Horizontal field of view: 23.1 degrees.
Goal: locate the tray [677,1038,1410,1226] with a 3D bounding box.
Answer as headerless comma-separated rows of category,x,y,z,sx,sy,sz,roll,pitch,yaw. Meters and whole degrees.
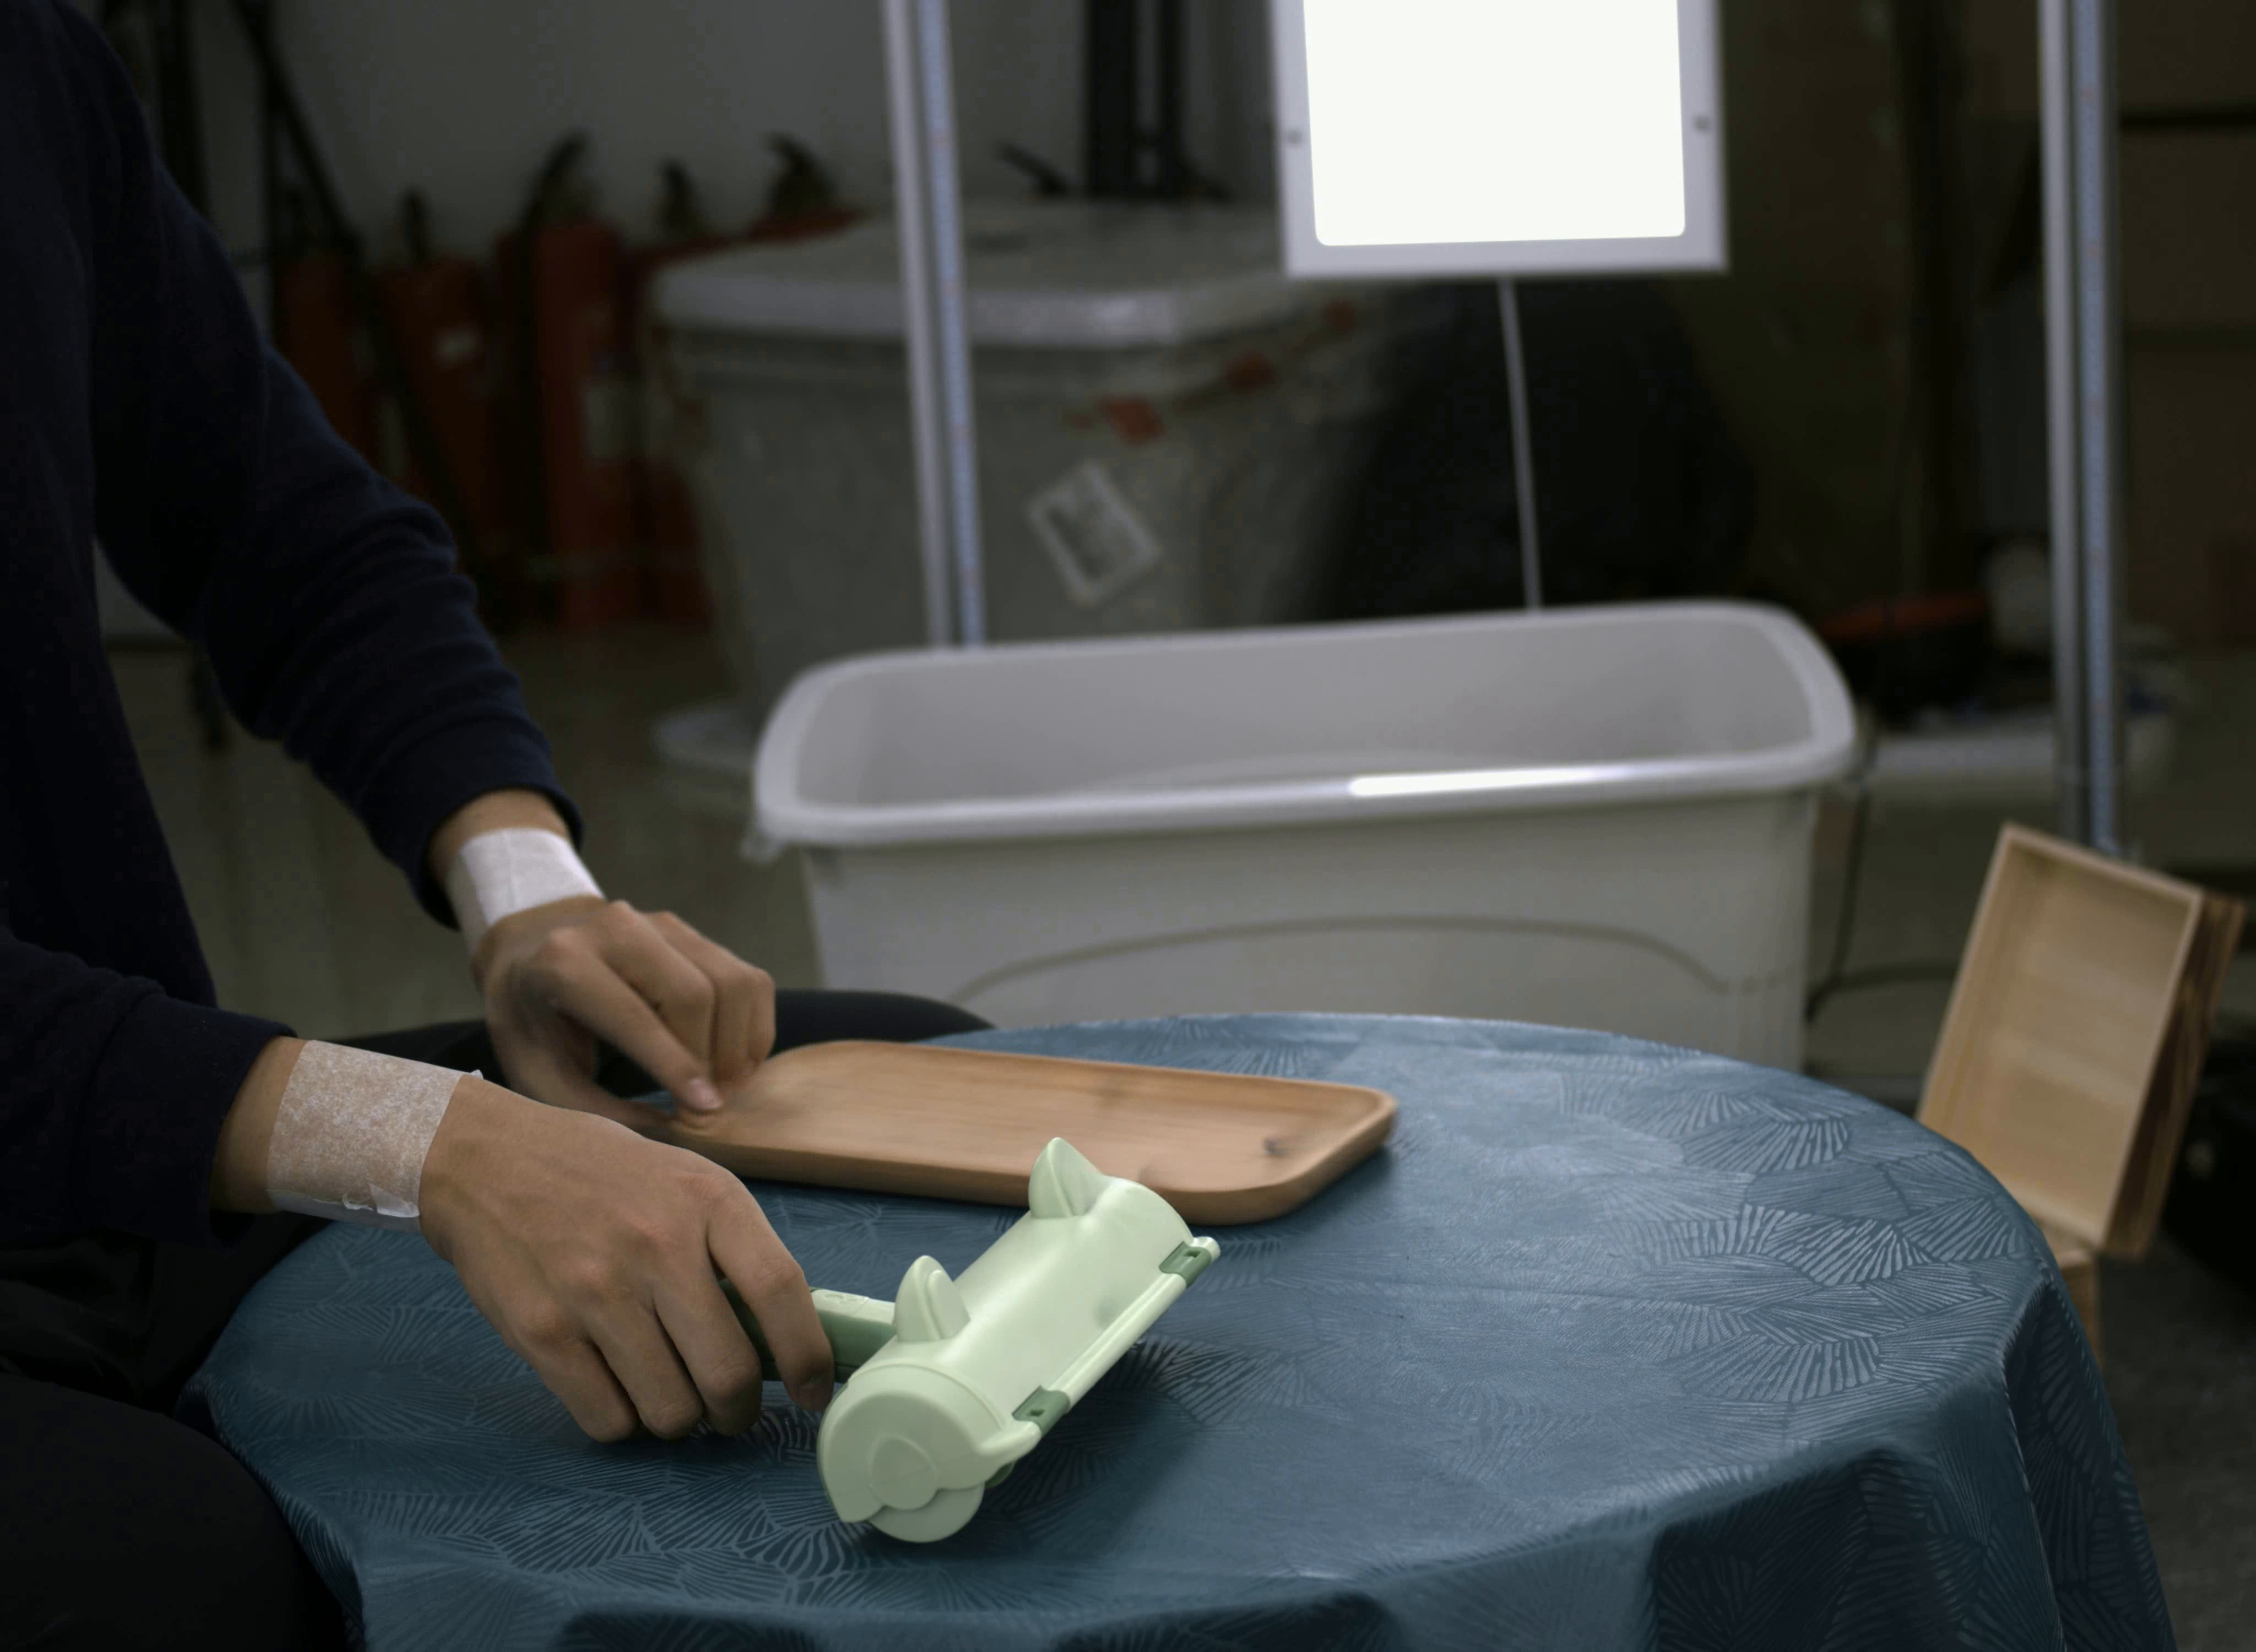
tray,-0.030,0.107,1.945,0.255,0.023,0.127,3,14,29

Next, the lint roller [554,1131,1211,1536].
lint roller,-0.087,0.138,1.672,0.185,0.083,0.195,12,18,16
